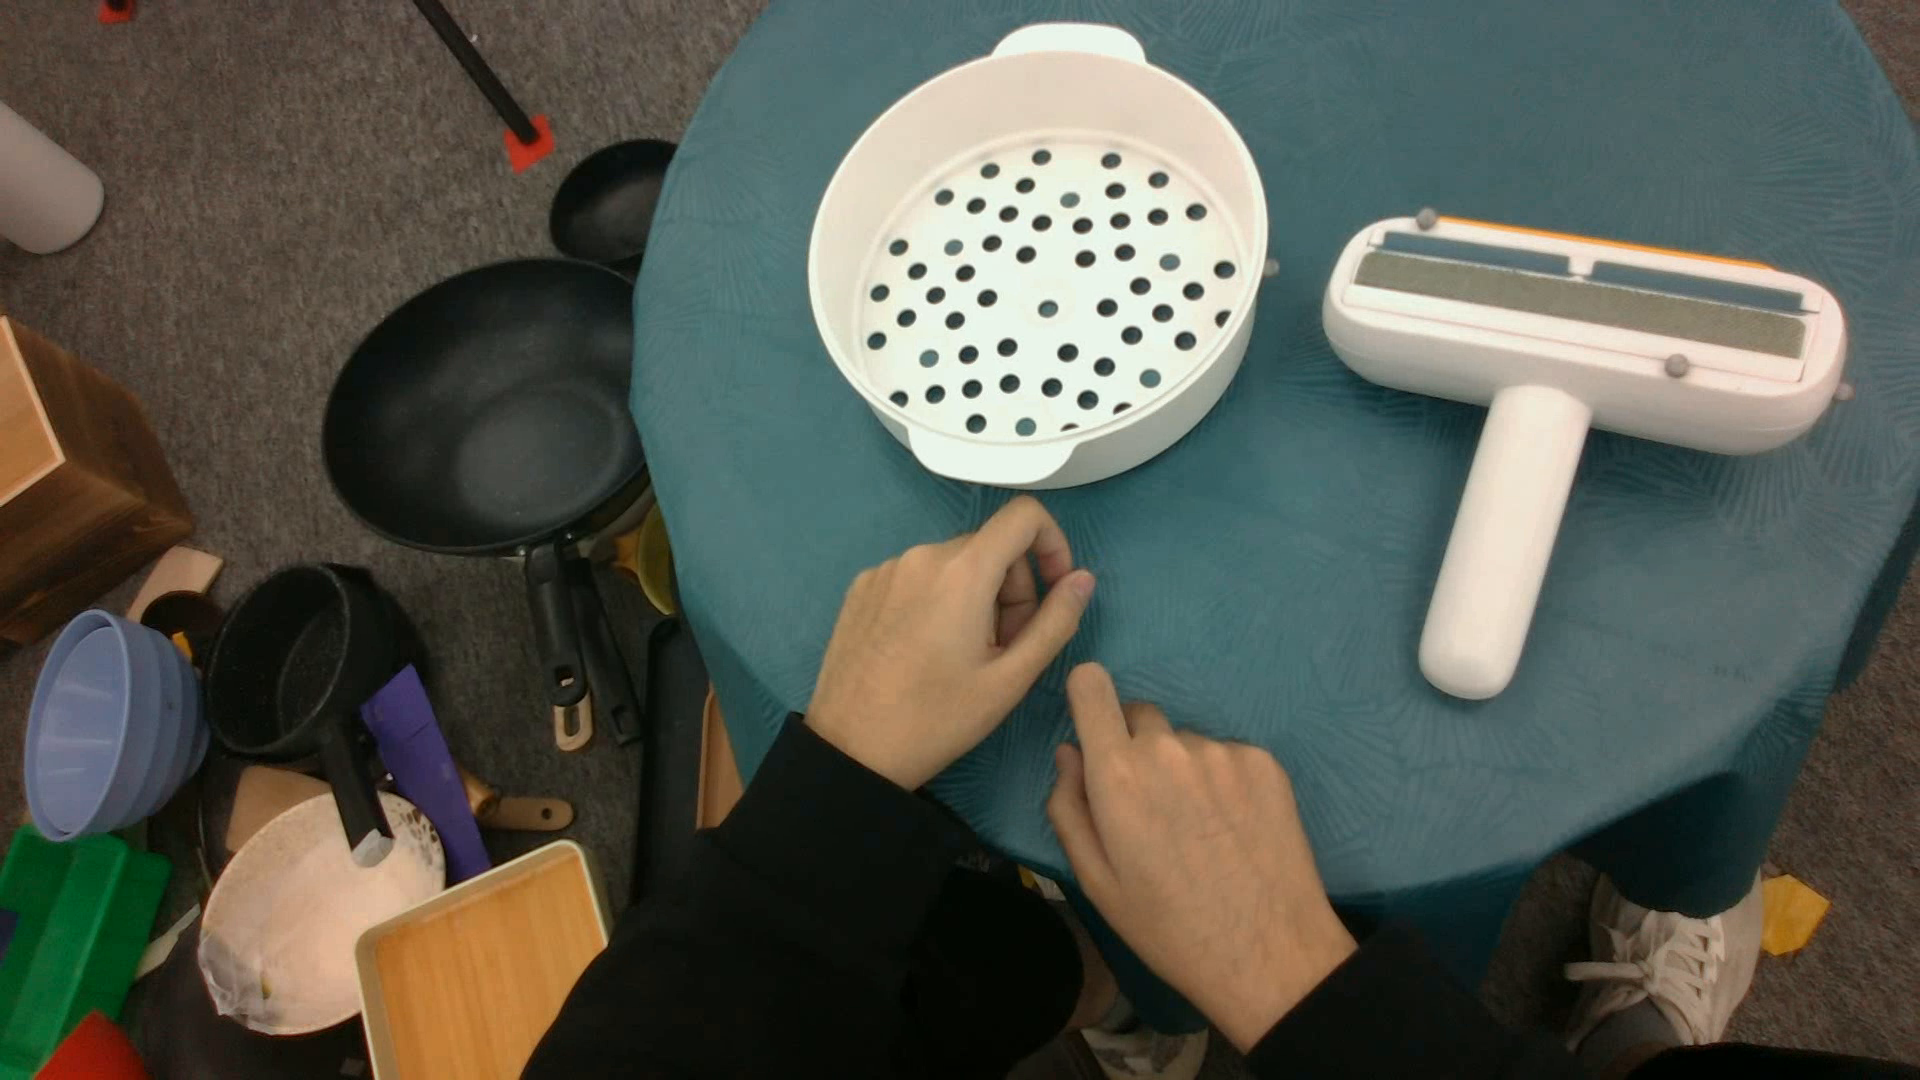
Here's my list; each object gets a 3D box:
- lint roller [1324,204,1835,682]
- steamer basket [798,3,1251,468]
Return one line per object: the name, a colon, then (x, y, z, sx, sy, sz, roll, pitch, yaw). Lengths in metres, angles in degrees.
lint roller: (0.222, -0.036, 0.555, 0.193, 0.074, 0.193, 21, 76, 23)
steamer basket: (0.031, -0.131, 0.630, 0.201, 0.069, 0.231, 6, 73, 14)
